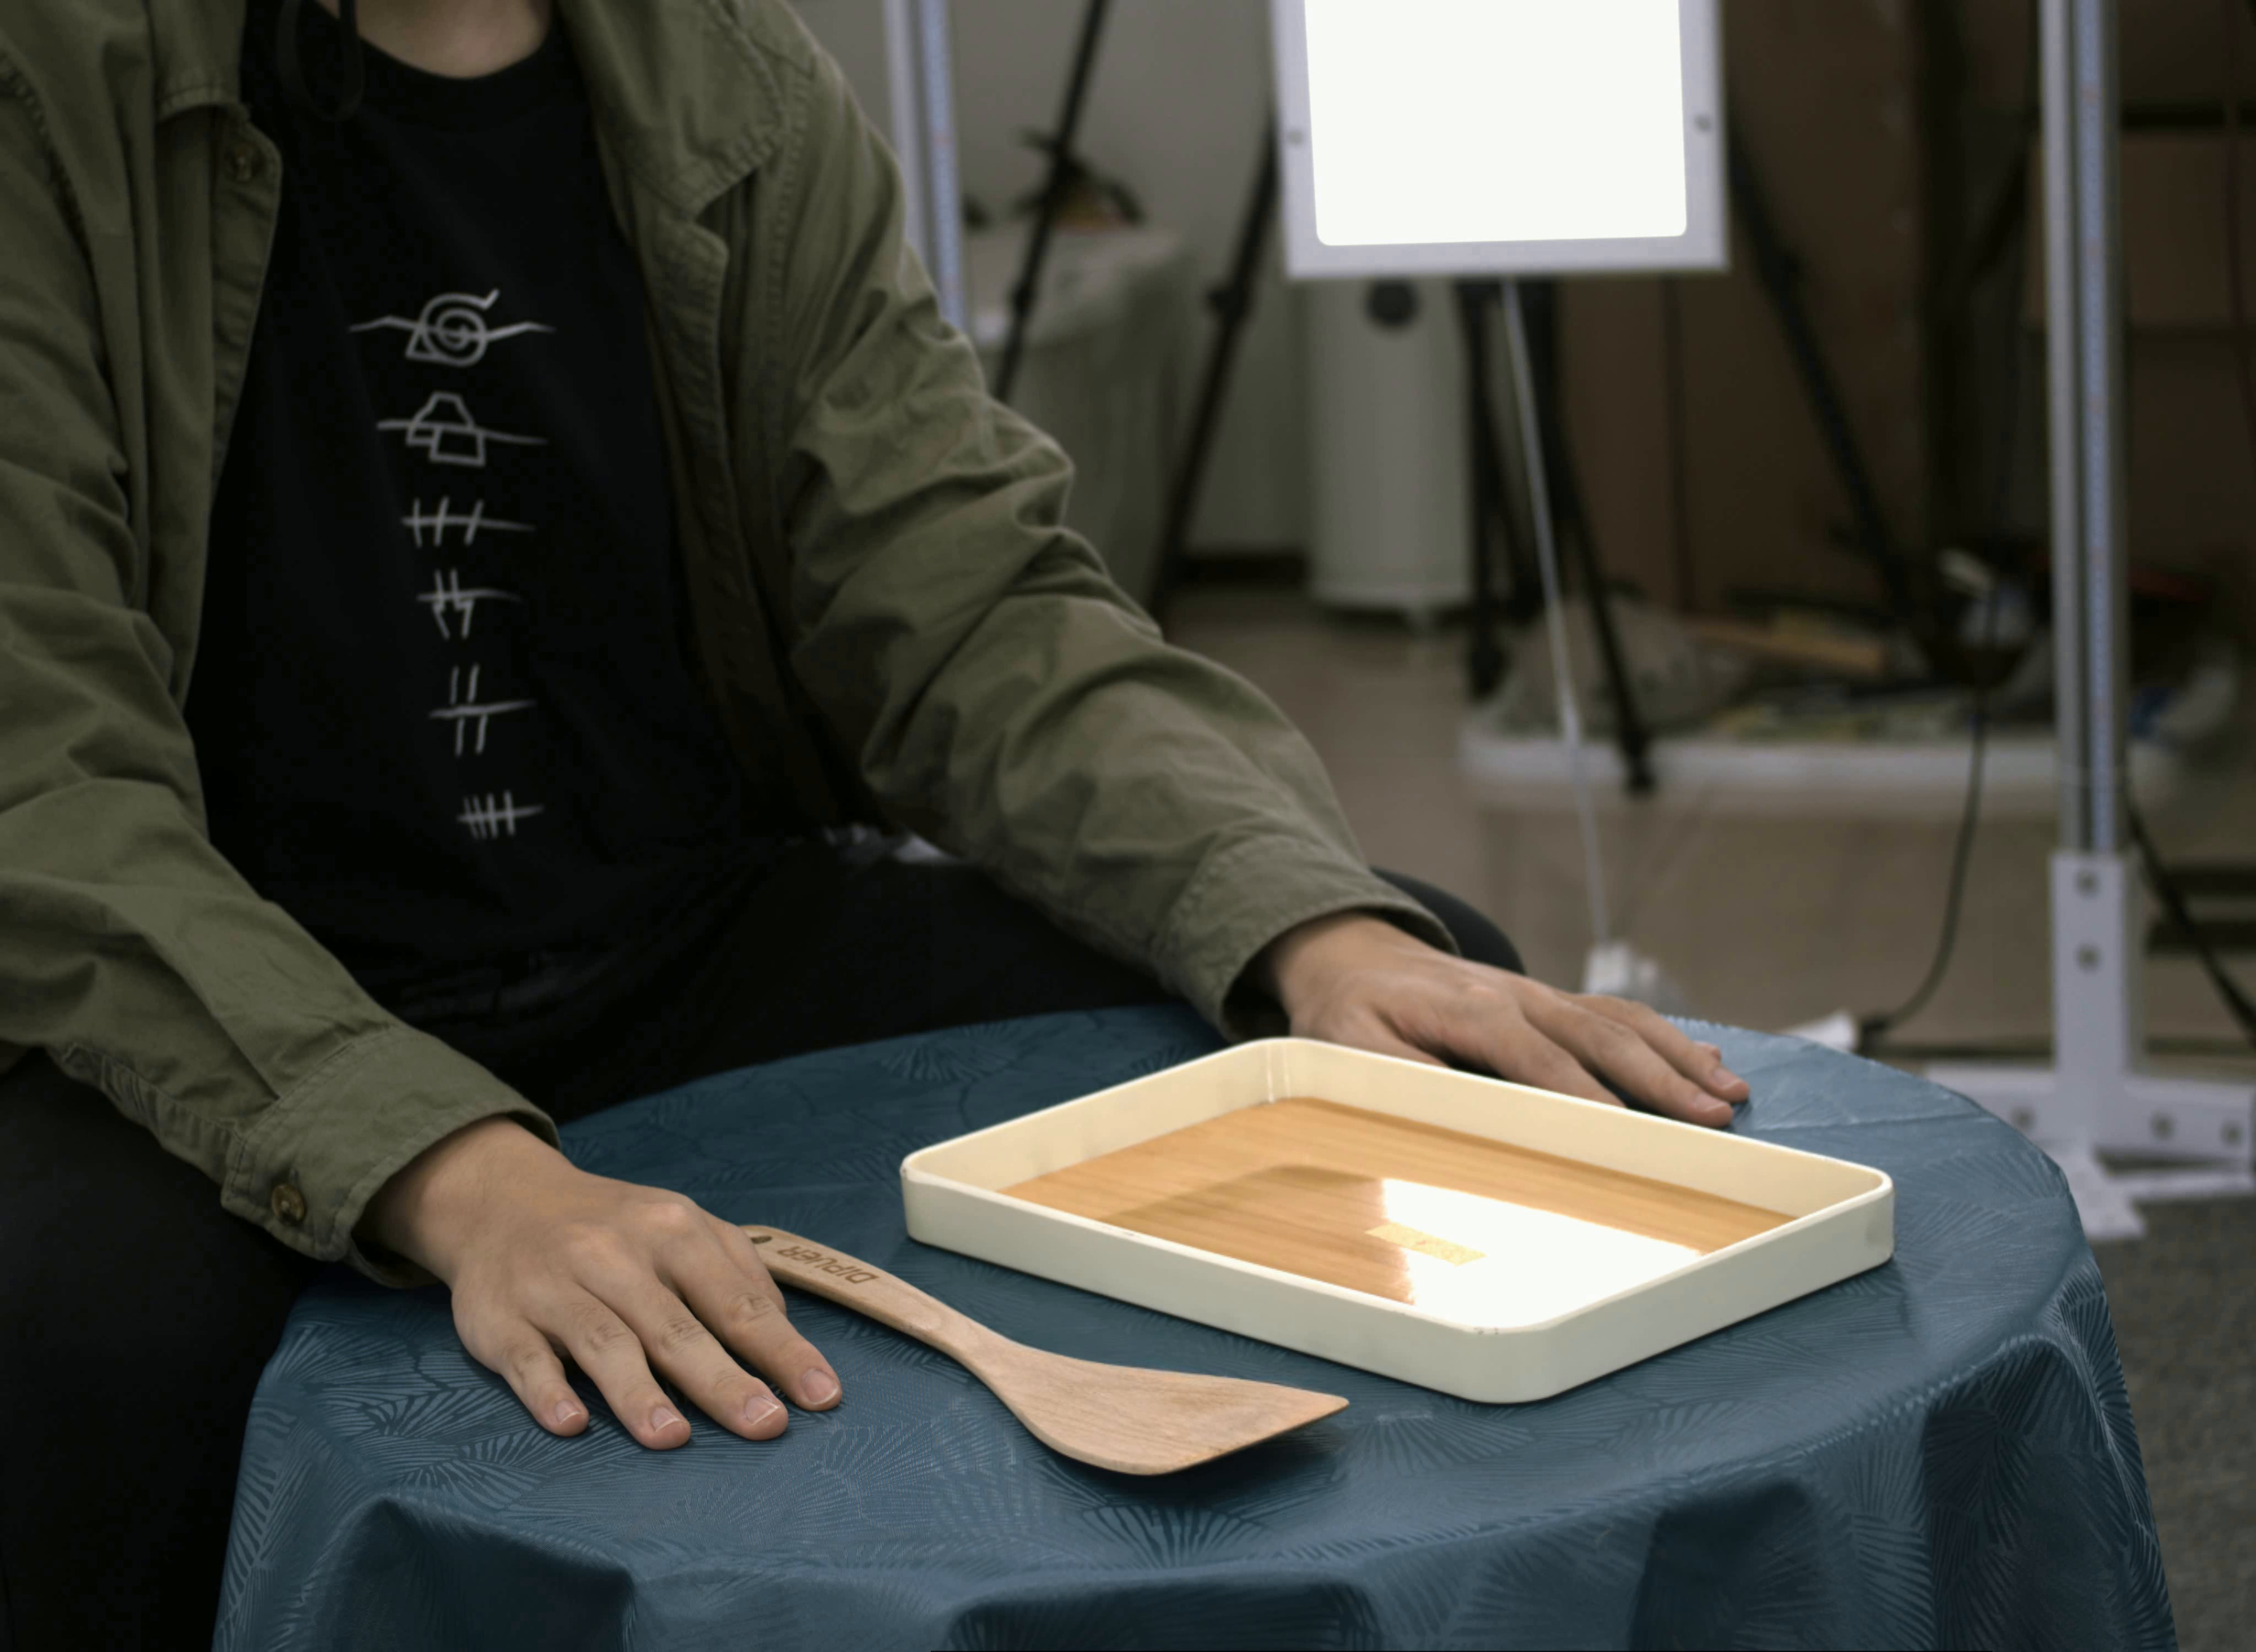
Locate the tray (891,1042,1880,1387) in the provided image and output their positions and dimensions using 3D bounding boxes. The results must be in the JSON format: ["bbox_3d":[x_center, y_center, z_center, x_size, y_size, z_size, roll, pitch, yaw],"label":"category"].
[{"bbox_3d":[0.082,0.124,1.815,0.187,0.027,0.307,-15,16,-38],"label":"tray"}]

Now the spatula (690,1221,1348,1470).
[{"bbox_3d":[-0.049,0.159,1.744,0.078,0.016,0.334,-13,16,-32],"label":"spatula"}]
